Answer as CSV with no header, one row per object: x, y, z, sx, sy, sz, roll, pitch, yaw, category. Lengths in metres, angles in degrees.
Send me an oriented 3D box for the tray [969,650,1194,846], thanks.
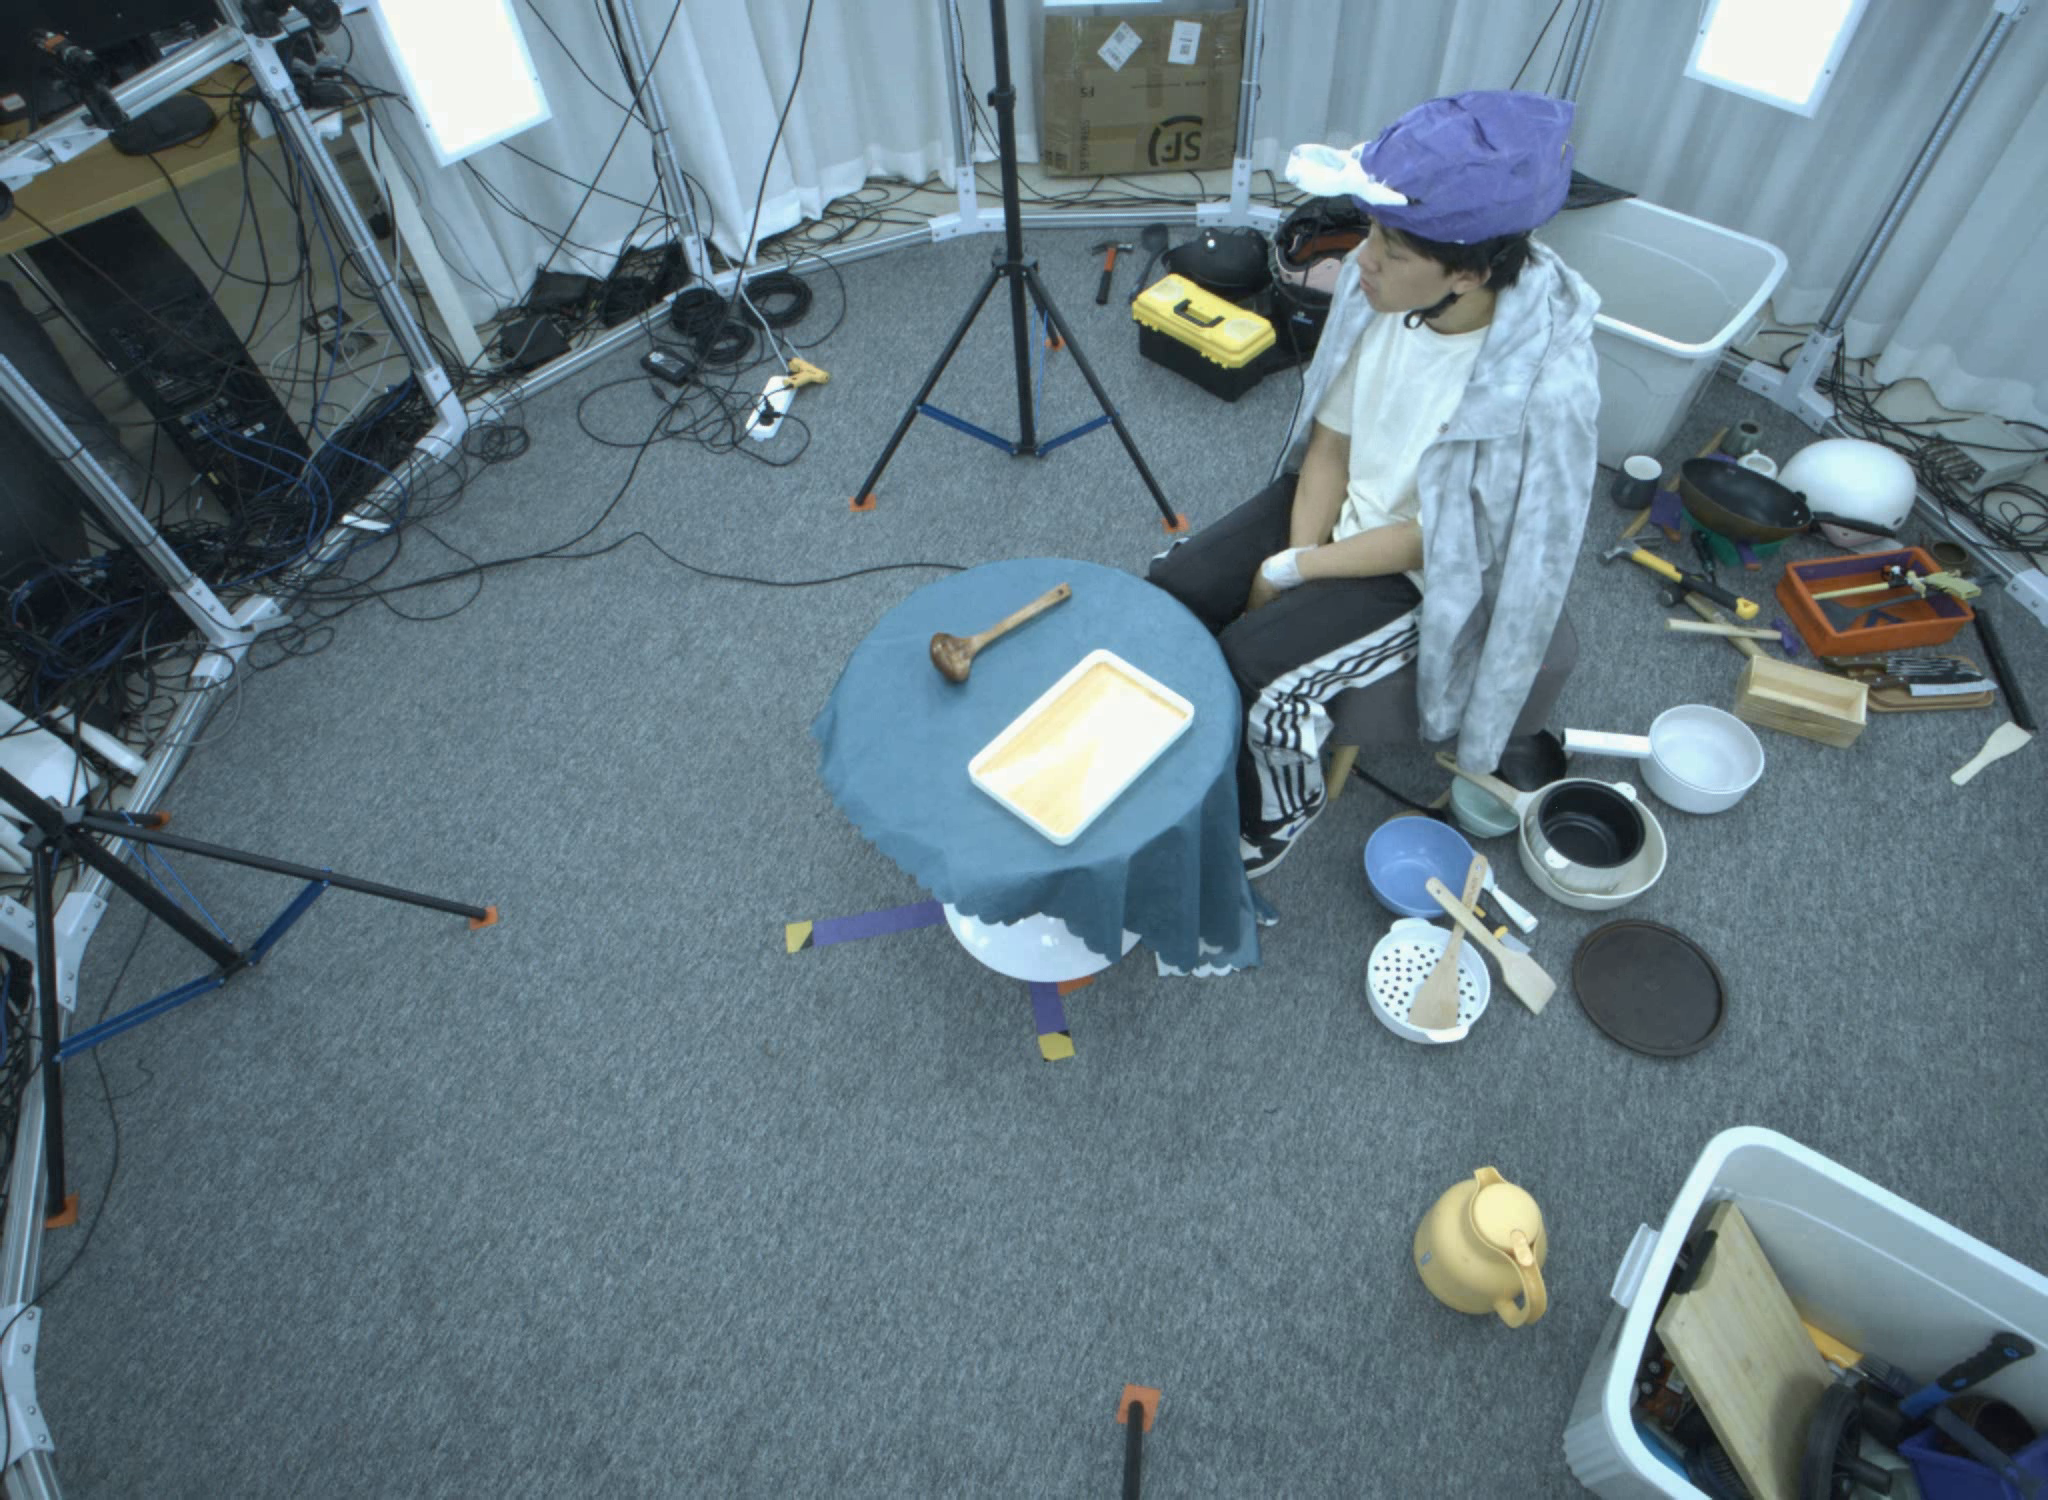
0.085,-0.010,1.777,0.188,0.028,0.302,36,63,24,tray

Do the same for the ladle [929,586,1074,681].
-0.027,-0.193,1.884,0.276,0.075,0.082,-30,100,-20,ladle
